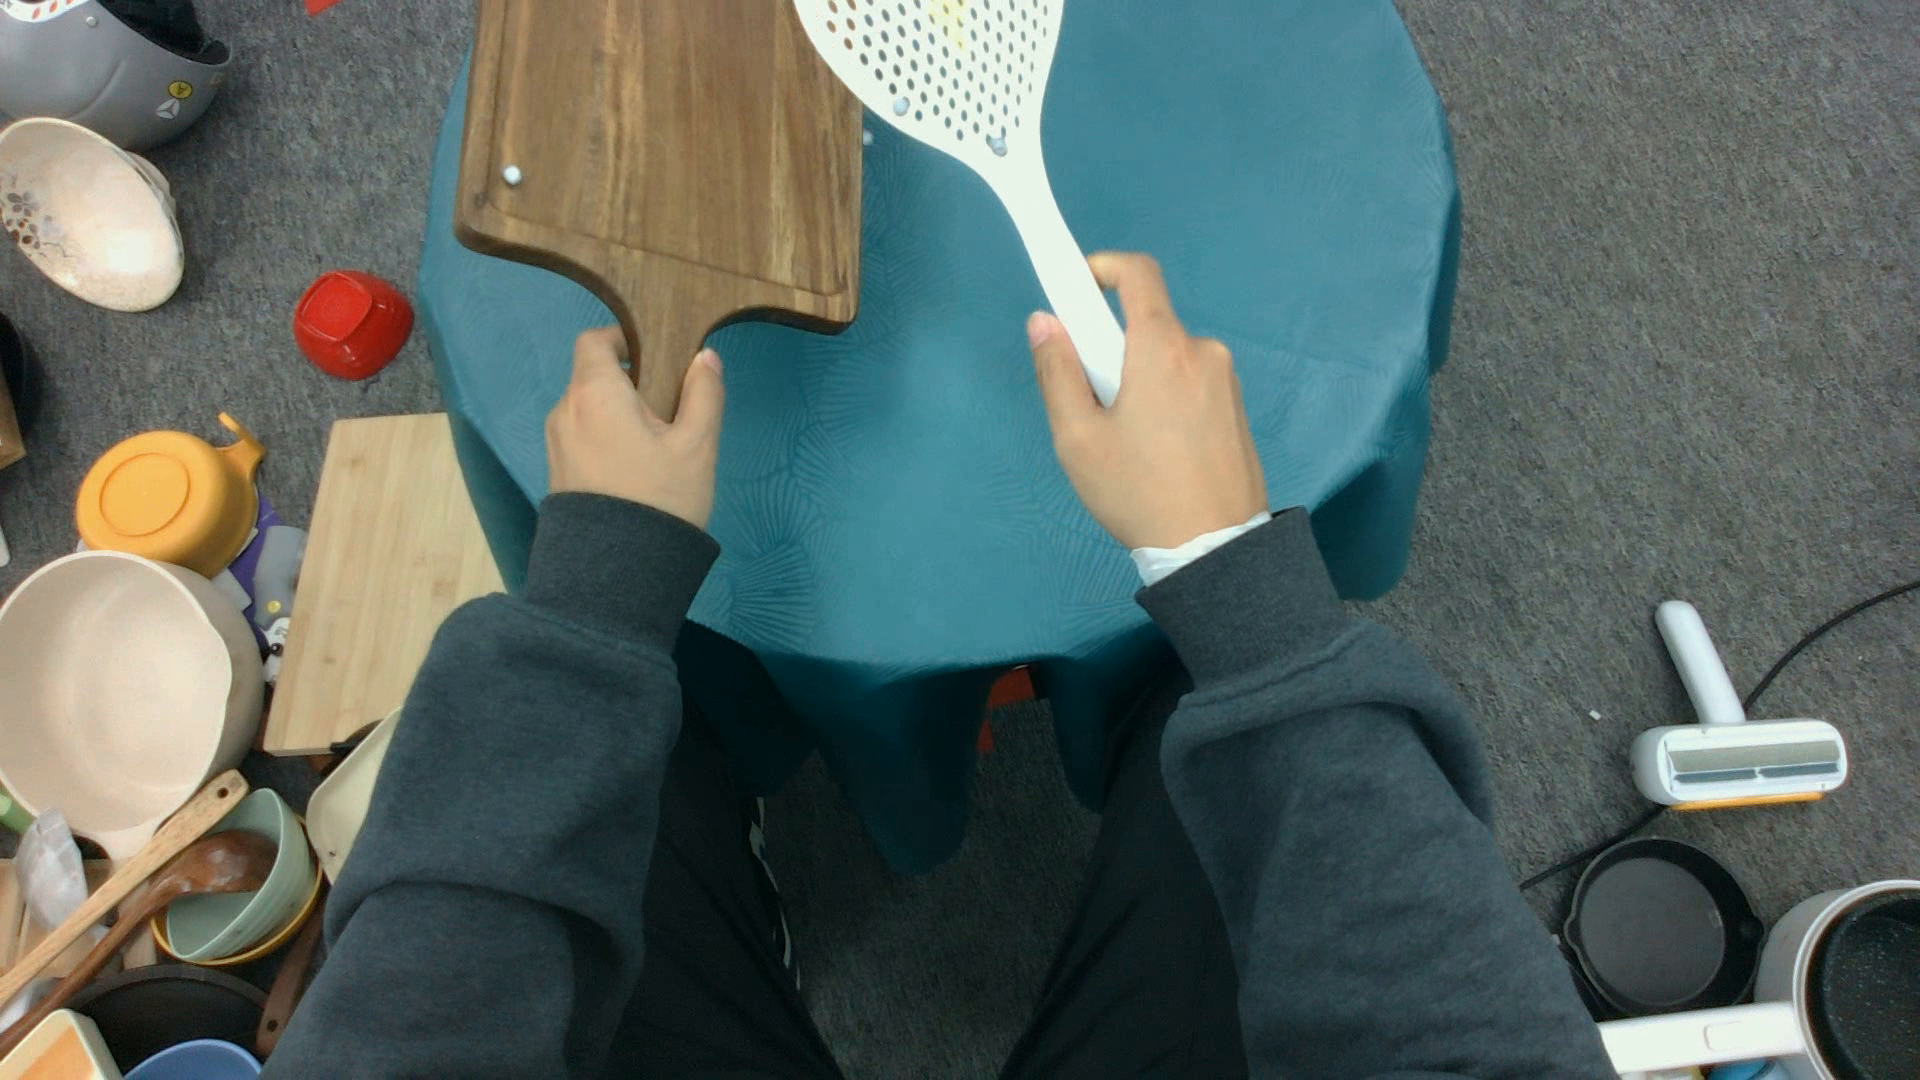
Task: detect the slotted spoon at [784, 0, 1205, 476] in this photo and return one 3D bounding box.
[{"bbox_3d":[0.023,-0.183,0.626,0.136,0.050,0.348,-27,72,15],"label":"slotted spoon"}]

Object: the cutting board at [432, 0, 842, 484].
[{"bbox_3d":[-0.152,-0.197,0.682,0.201,0.023,0.353,8,71,-28],"label":"cutting board"}]
